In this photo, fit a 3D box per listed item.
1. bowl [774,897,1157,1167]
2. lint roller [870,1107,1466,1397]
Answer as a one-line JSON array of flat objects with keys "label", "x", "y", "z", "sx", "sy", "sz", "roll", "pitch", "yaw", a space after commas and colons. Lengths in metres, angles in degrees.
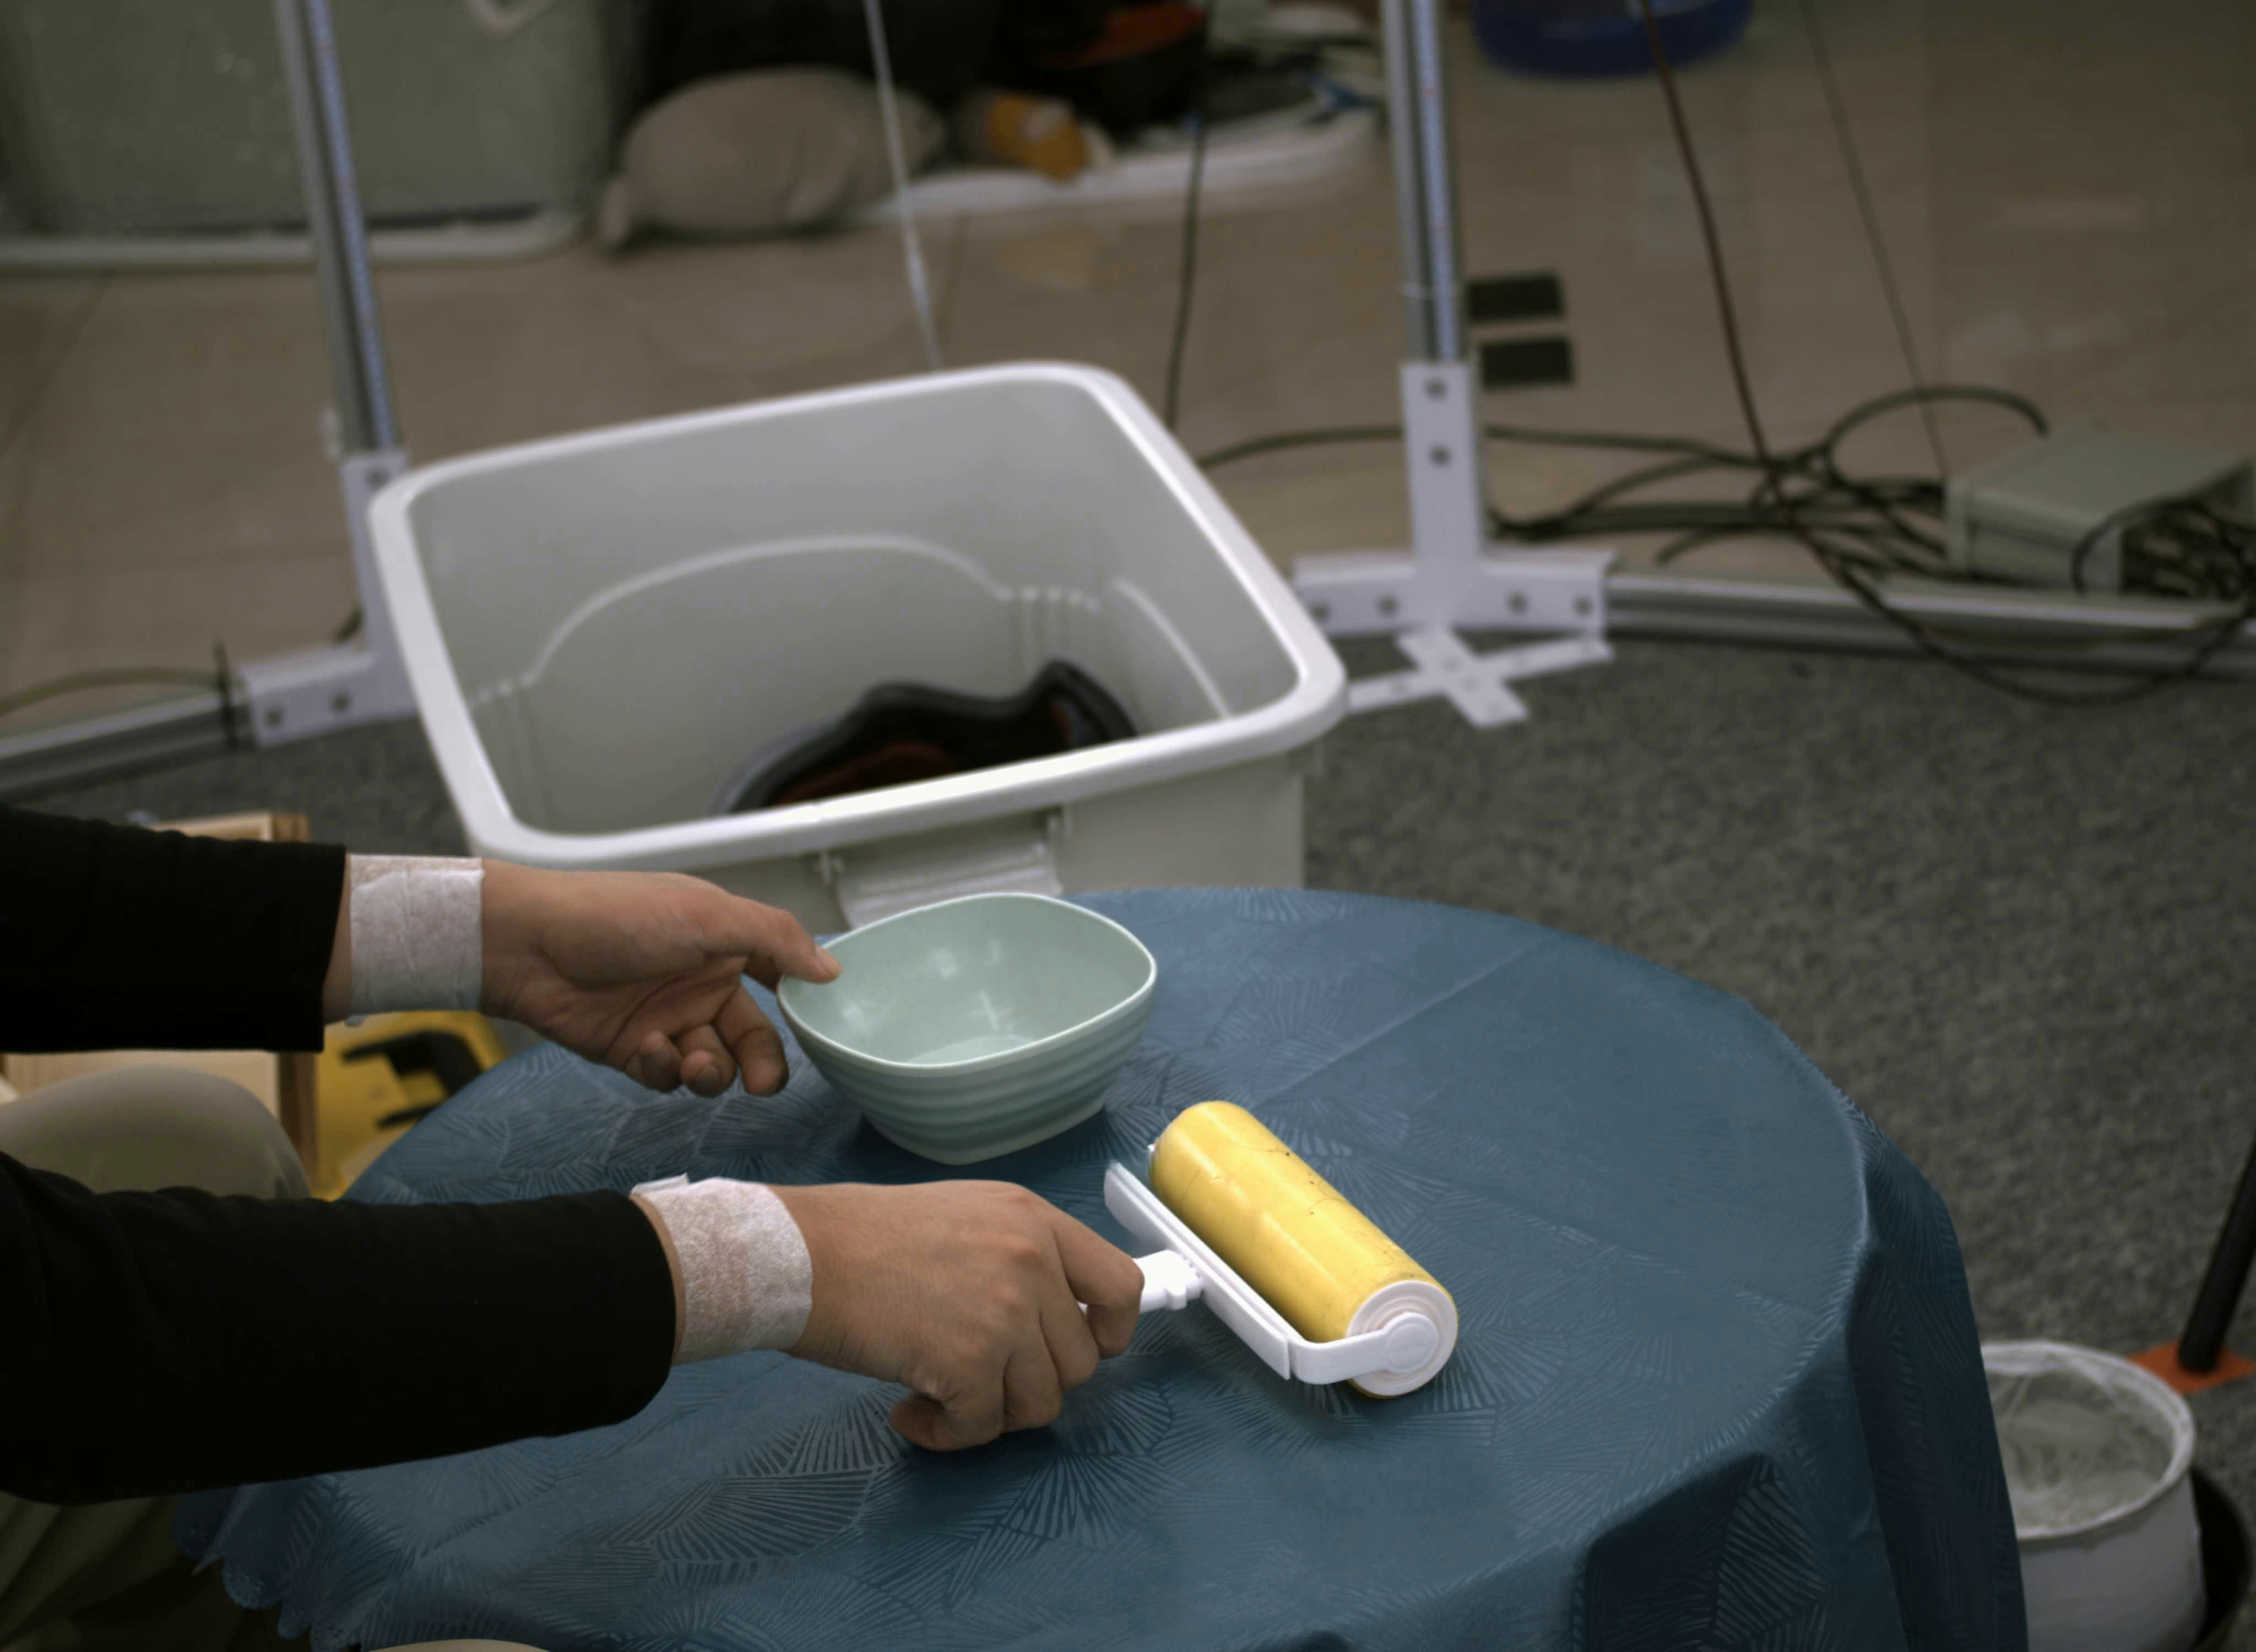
[{"label": "bowl", "x": -0.061, "y": 0.085, "z": 2.211, "sx": 0.151, "sy": 0.059, "sz": 0.149, "roll": -4, "pitch": 25, "yaw": 2}, {"label": "lint roller", "x": -0.002, "y": 0.160, "z": 2.018, "sx": 0.191, "sy": 0.052, "sz": 0.172, "roll": -4, "pitch": 22, "yaw": -27}]
